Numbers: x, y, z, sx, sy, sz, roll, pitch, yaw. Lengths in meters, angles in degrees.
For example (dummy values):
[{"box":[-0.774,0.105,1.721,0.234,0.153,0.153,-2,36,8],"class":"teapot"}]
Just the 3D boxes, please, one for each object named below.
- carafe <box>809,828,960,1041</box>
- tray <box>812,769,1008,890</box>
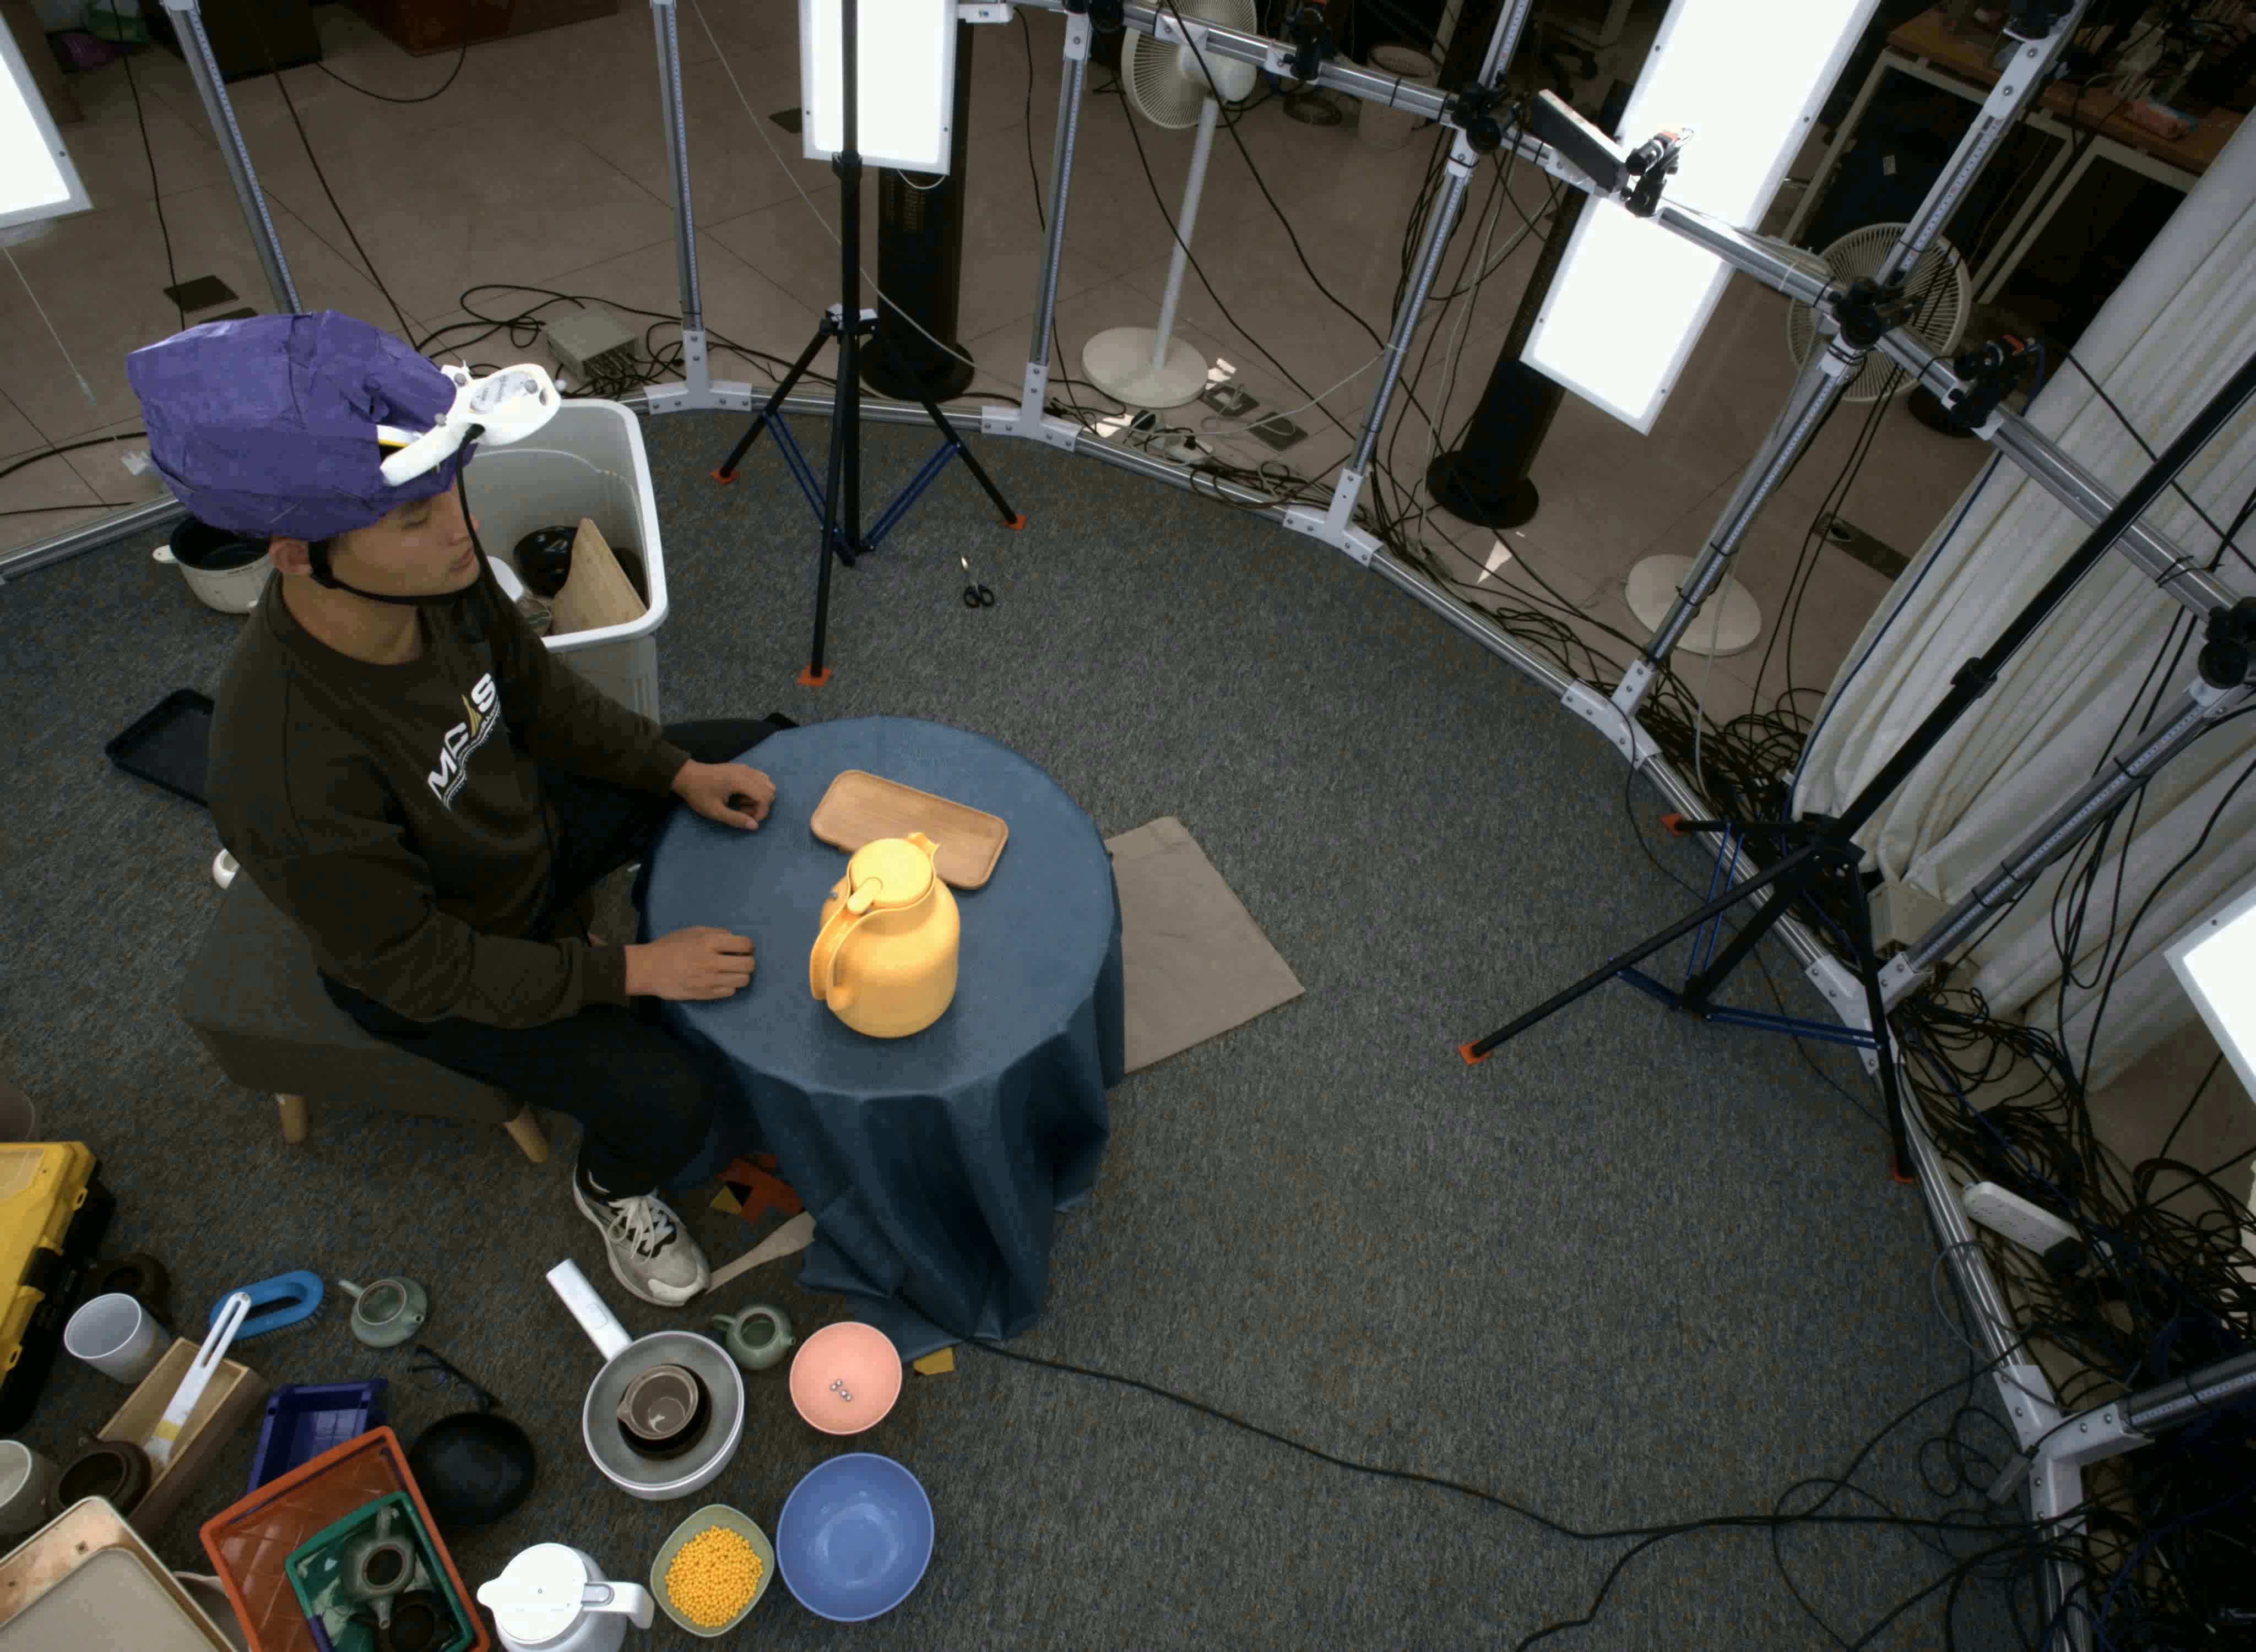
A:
[{"box":[-0.288,0.132,1.500,0.159,0.267,0.202,31,52,18],"class":"carafe"},{"box":[-0.293,0.004,1.753,0.248,0.023,0.129,19,49,2],"class":"tray"}]
